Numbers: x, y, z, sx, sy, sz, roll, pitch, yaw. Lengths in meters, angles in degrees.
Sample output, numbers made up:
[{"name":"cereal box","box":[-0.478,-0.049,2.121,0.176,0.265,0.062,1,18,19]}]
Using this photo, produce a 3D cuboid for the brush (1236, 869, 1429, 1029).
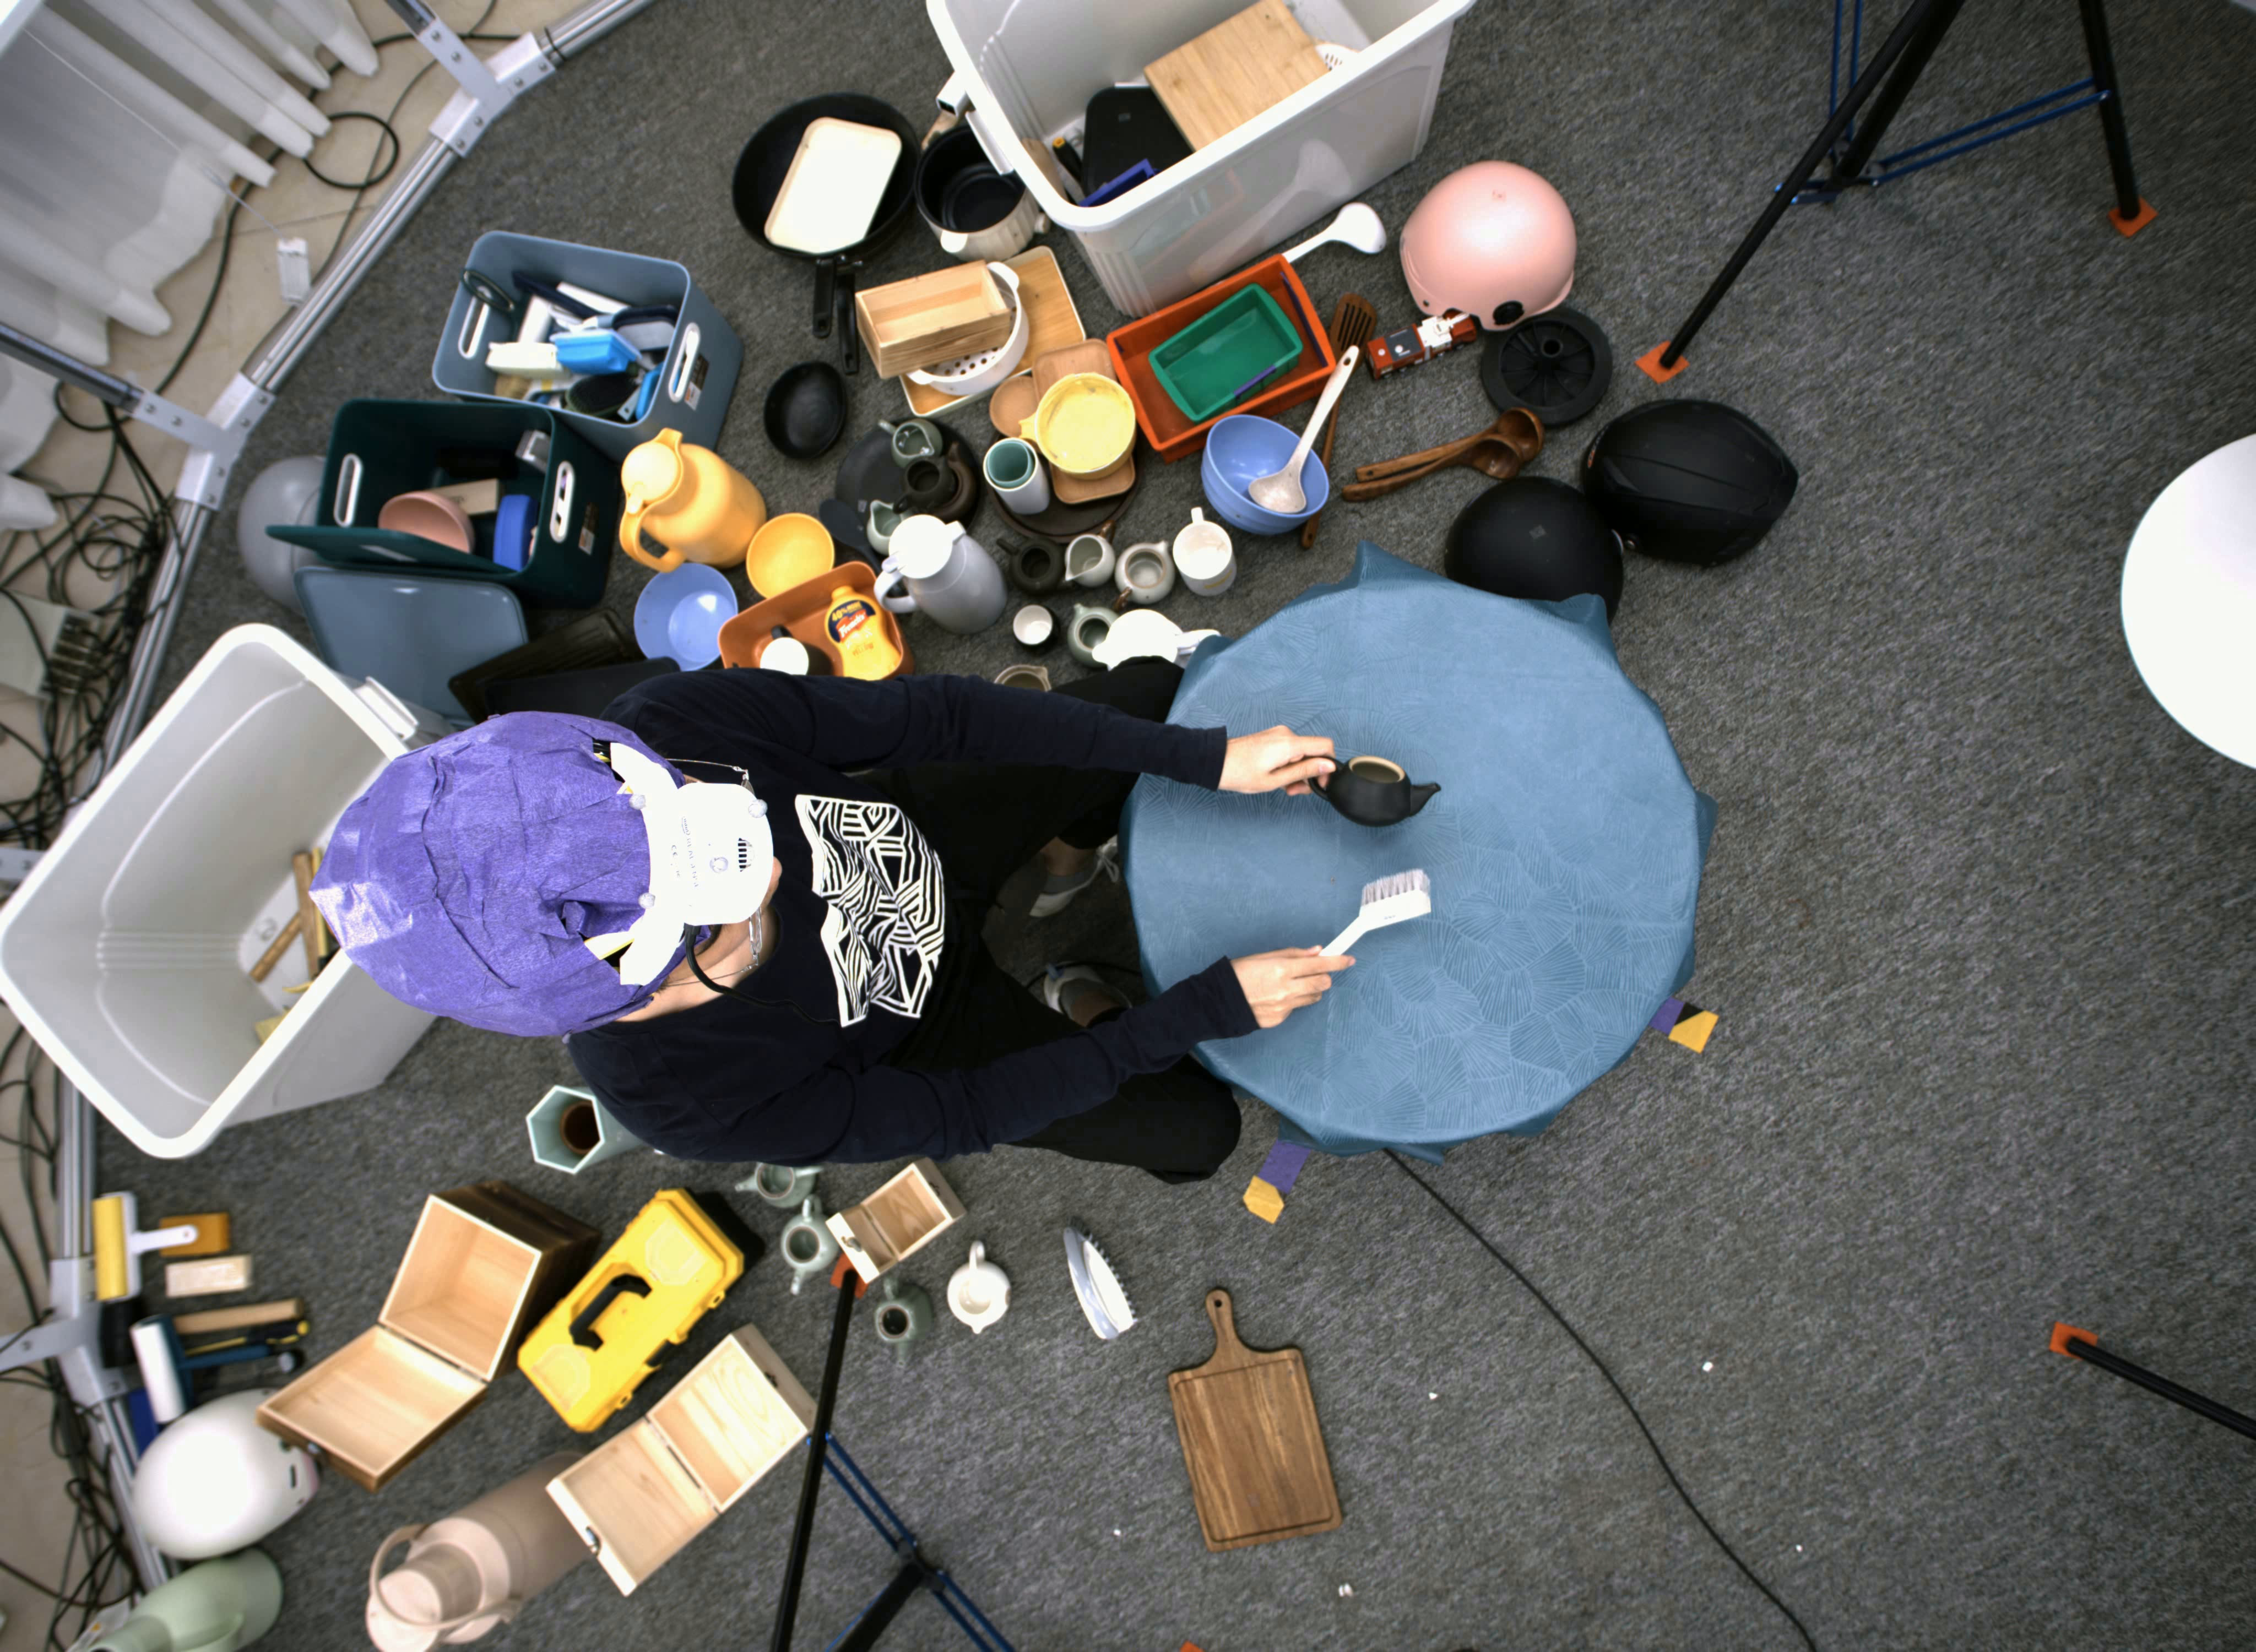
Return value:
[{"name":"brush","box":[0.202,0.122,1.408,0.246,0.035,0.049,-37,50,17]}]

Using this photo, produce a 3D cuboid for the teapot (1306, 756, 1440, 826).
[{"name":"teapot","box":[0.244,-0.036,1.392,0.133,0.089,0.054,14,116,8]}]
